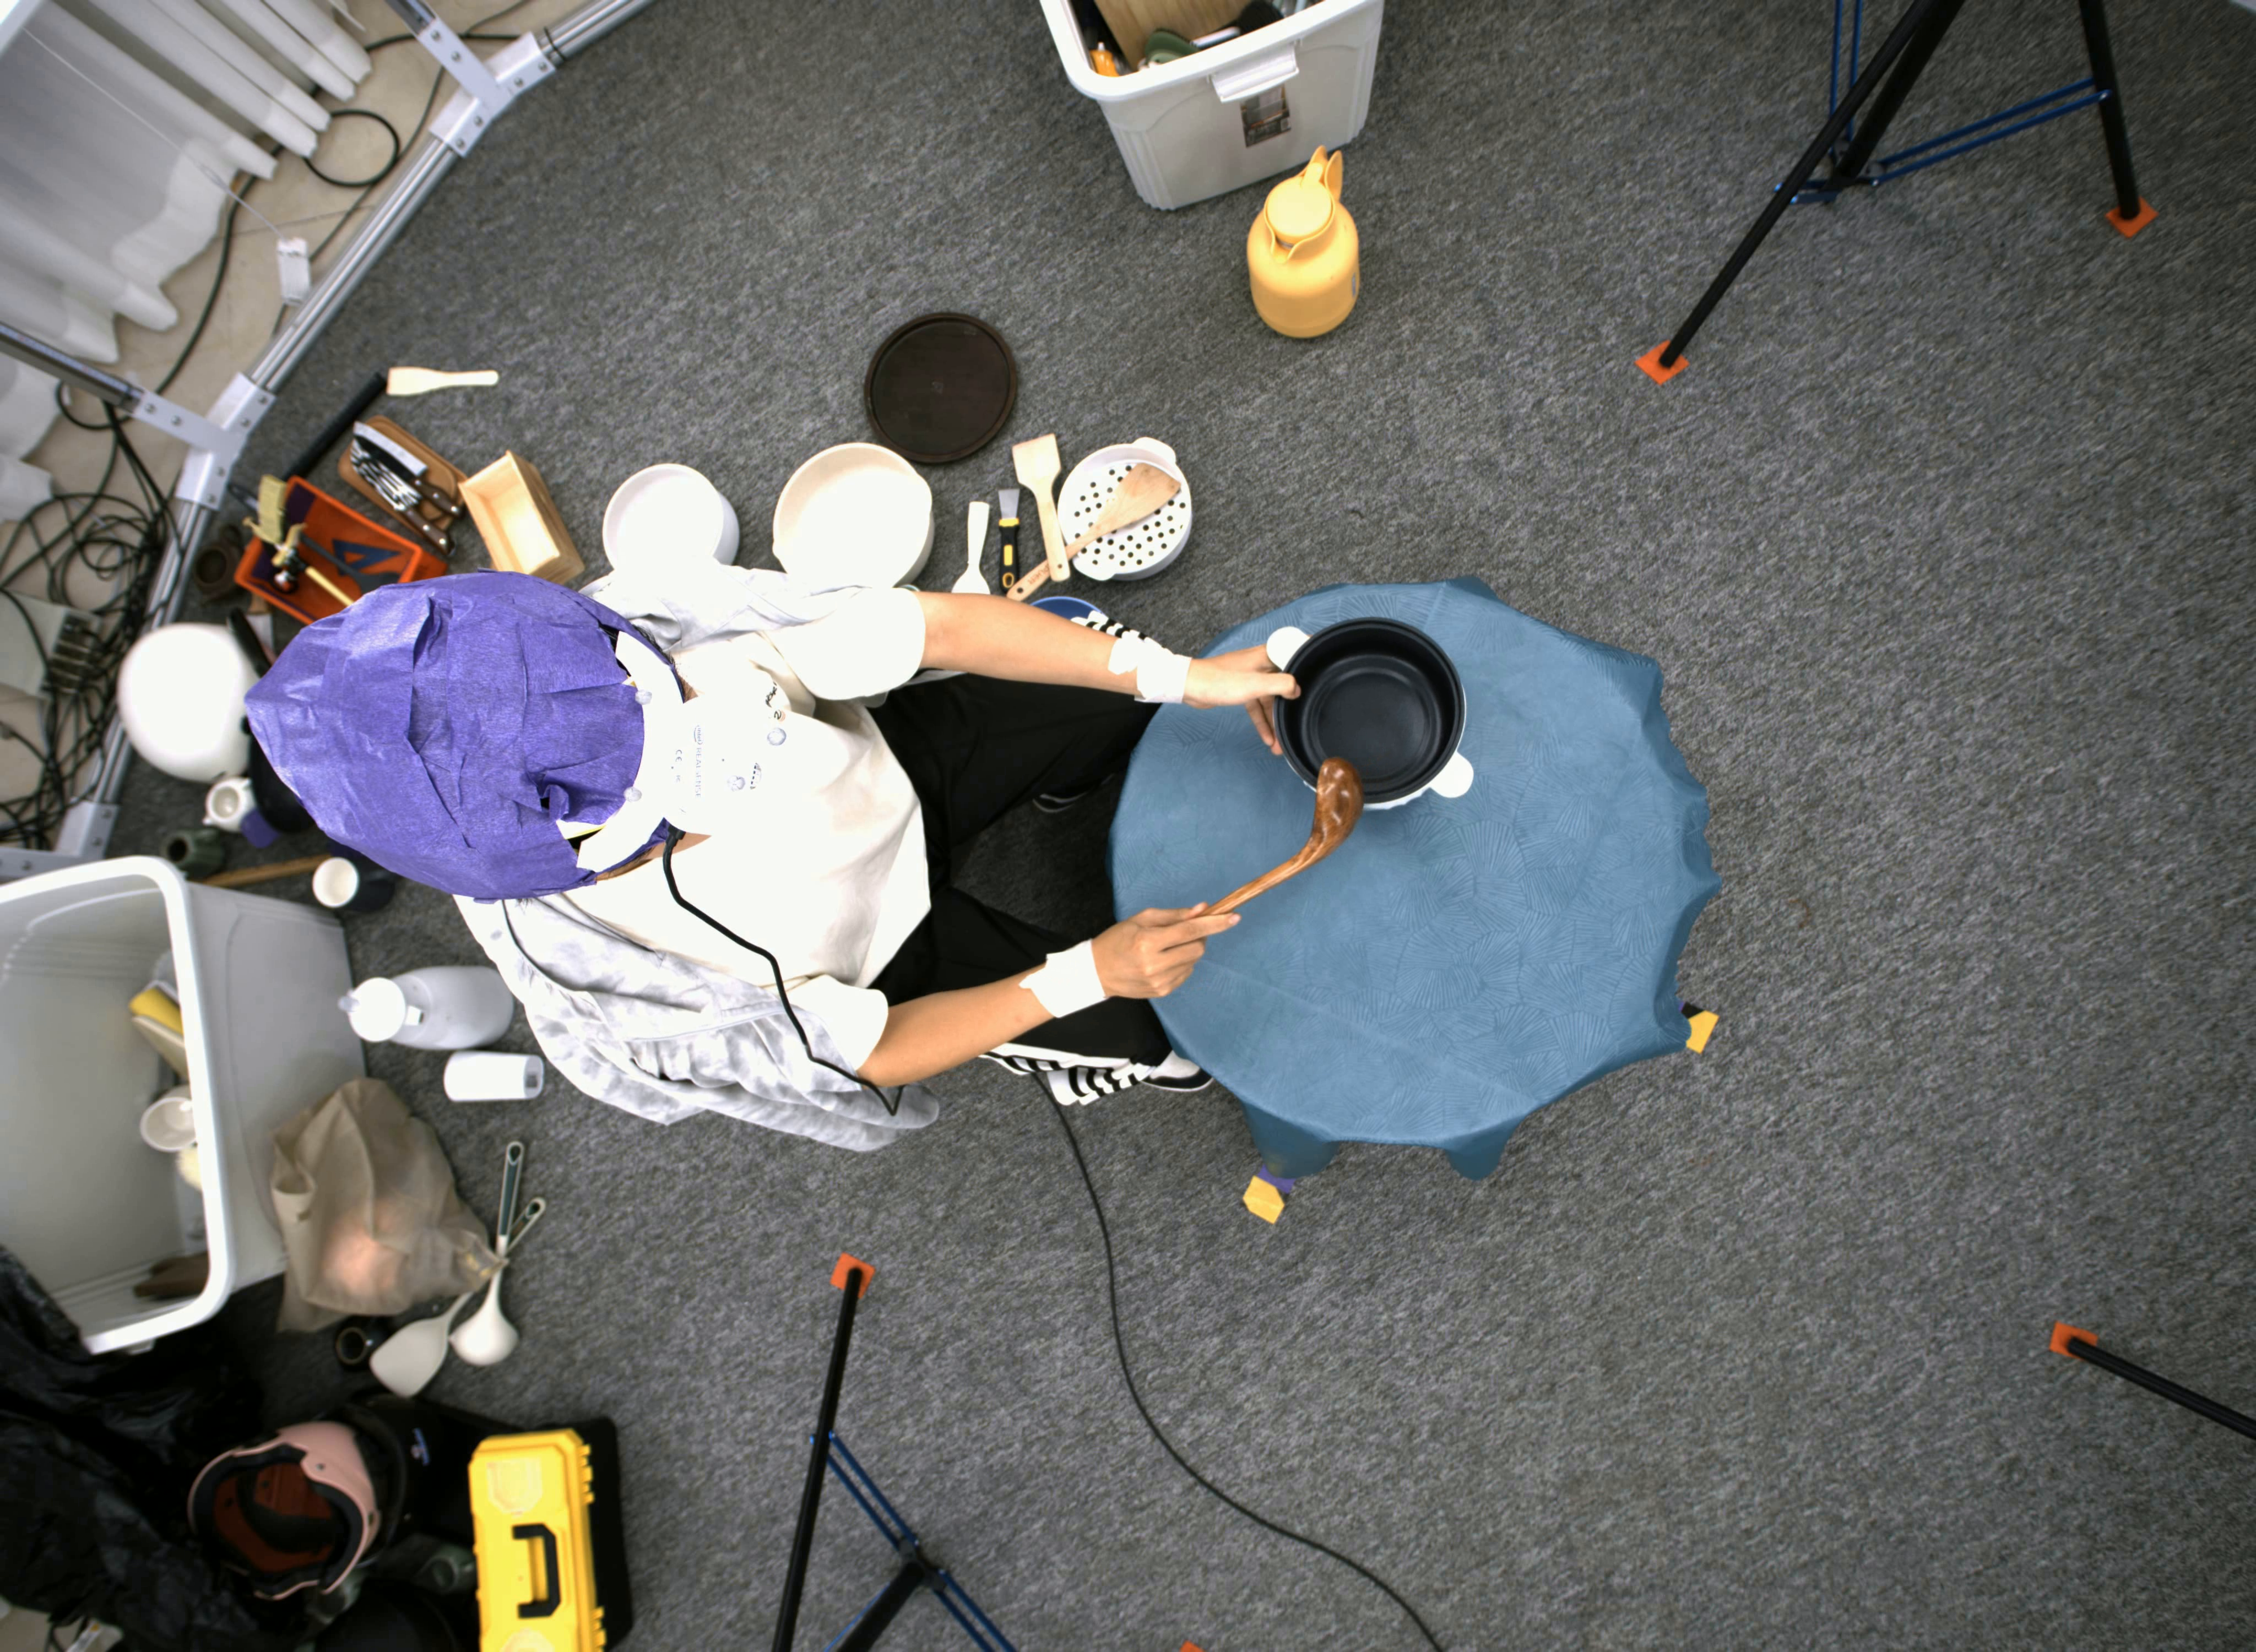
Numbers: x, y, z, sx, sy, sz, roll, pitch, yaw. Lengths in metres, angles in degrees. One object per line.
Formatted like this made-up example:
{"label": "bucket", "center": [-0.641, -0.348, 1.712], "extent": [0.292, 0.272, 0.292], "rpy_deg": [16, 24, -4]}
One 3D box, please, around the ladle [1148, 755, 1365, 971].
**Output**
{"label": "ladle", "center": [0.111, 0.034, 1.307], "extent": [0.278, 0.082, 0.075], "rpy_deg": [-36, 67, 23]}

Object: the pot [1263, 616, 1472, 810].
{"label": "pot", "center": [0.242, -0.112, 1.367], "extent": [0.239, 0.142, 0.192], "rpy_deg": [40, 99, 10]}
